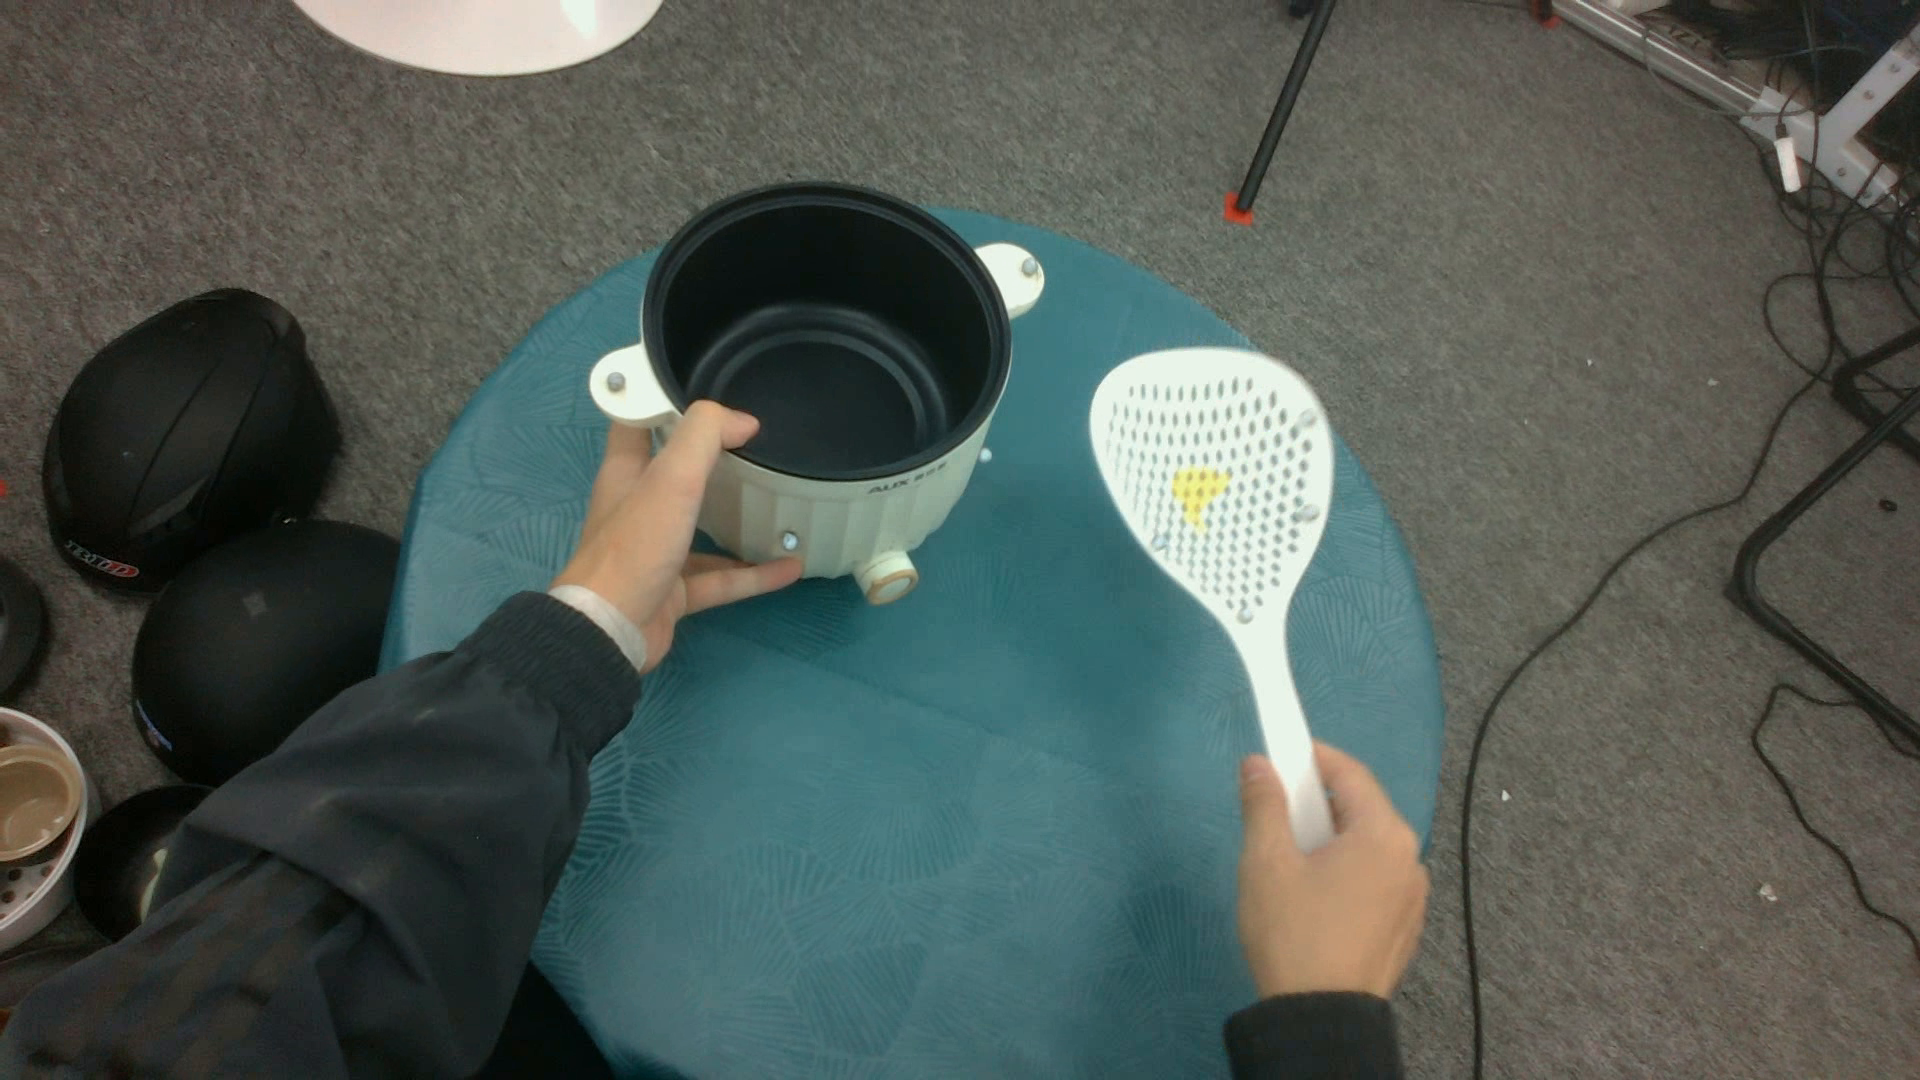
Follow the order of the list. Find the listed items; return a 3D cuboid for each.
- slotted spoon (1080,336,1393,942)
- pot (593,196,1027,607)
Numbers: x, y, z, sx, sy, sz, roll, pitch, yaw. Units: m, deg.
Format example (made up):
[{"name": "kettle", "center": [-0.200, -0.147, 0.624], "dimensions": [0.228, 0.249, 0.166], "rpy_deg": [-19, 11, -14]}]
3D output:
[{"name": "slotted spoon", "center": [0.156, 0.035, 0.722], "dimensions": [0.137, 0.050, 0.349], "rpy_deg": [-7, 55, -9]}, {"name": "pot", "center": [-0.074, -0.067, 0.745], "dimensions": [0.241, 0.142, 0.191], "rpy_deg": [-24, 63, -20]}]
